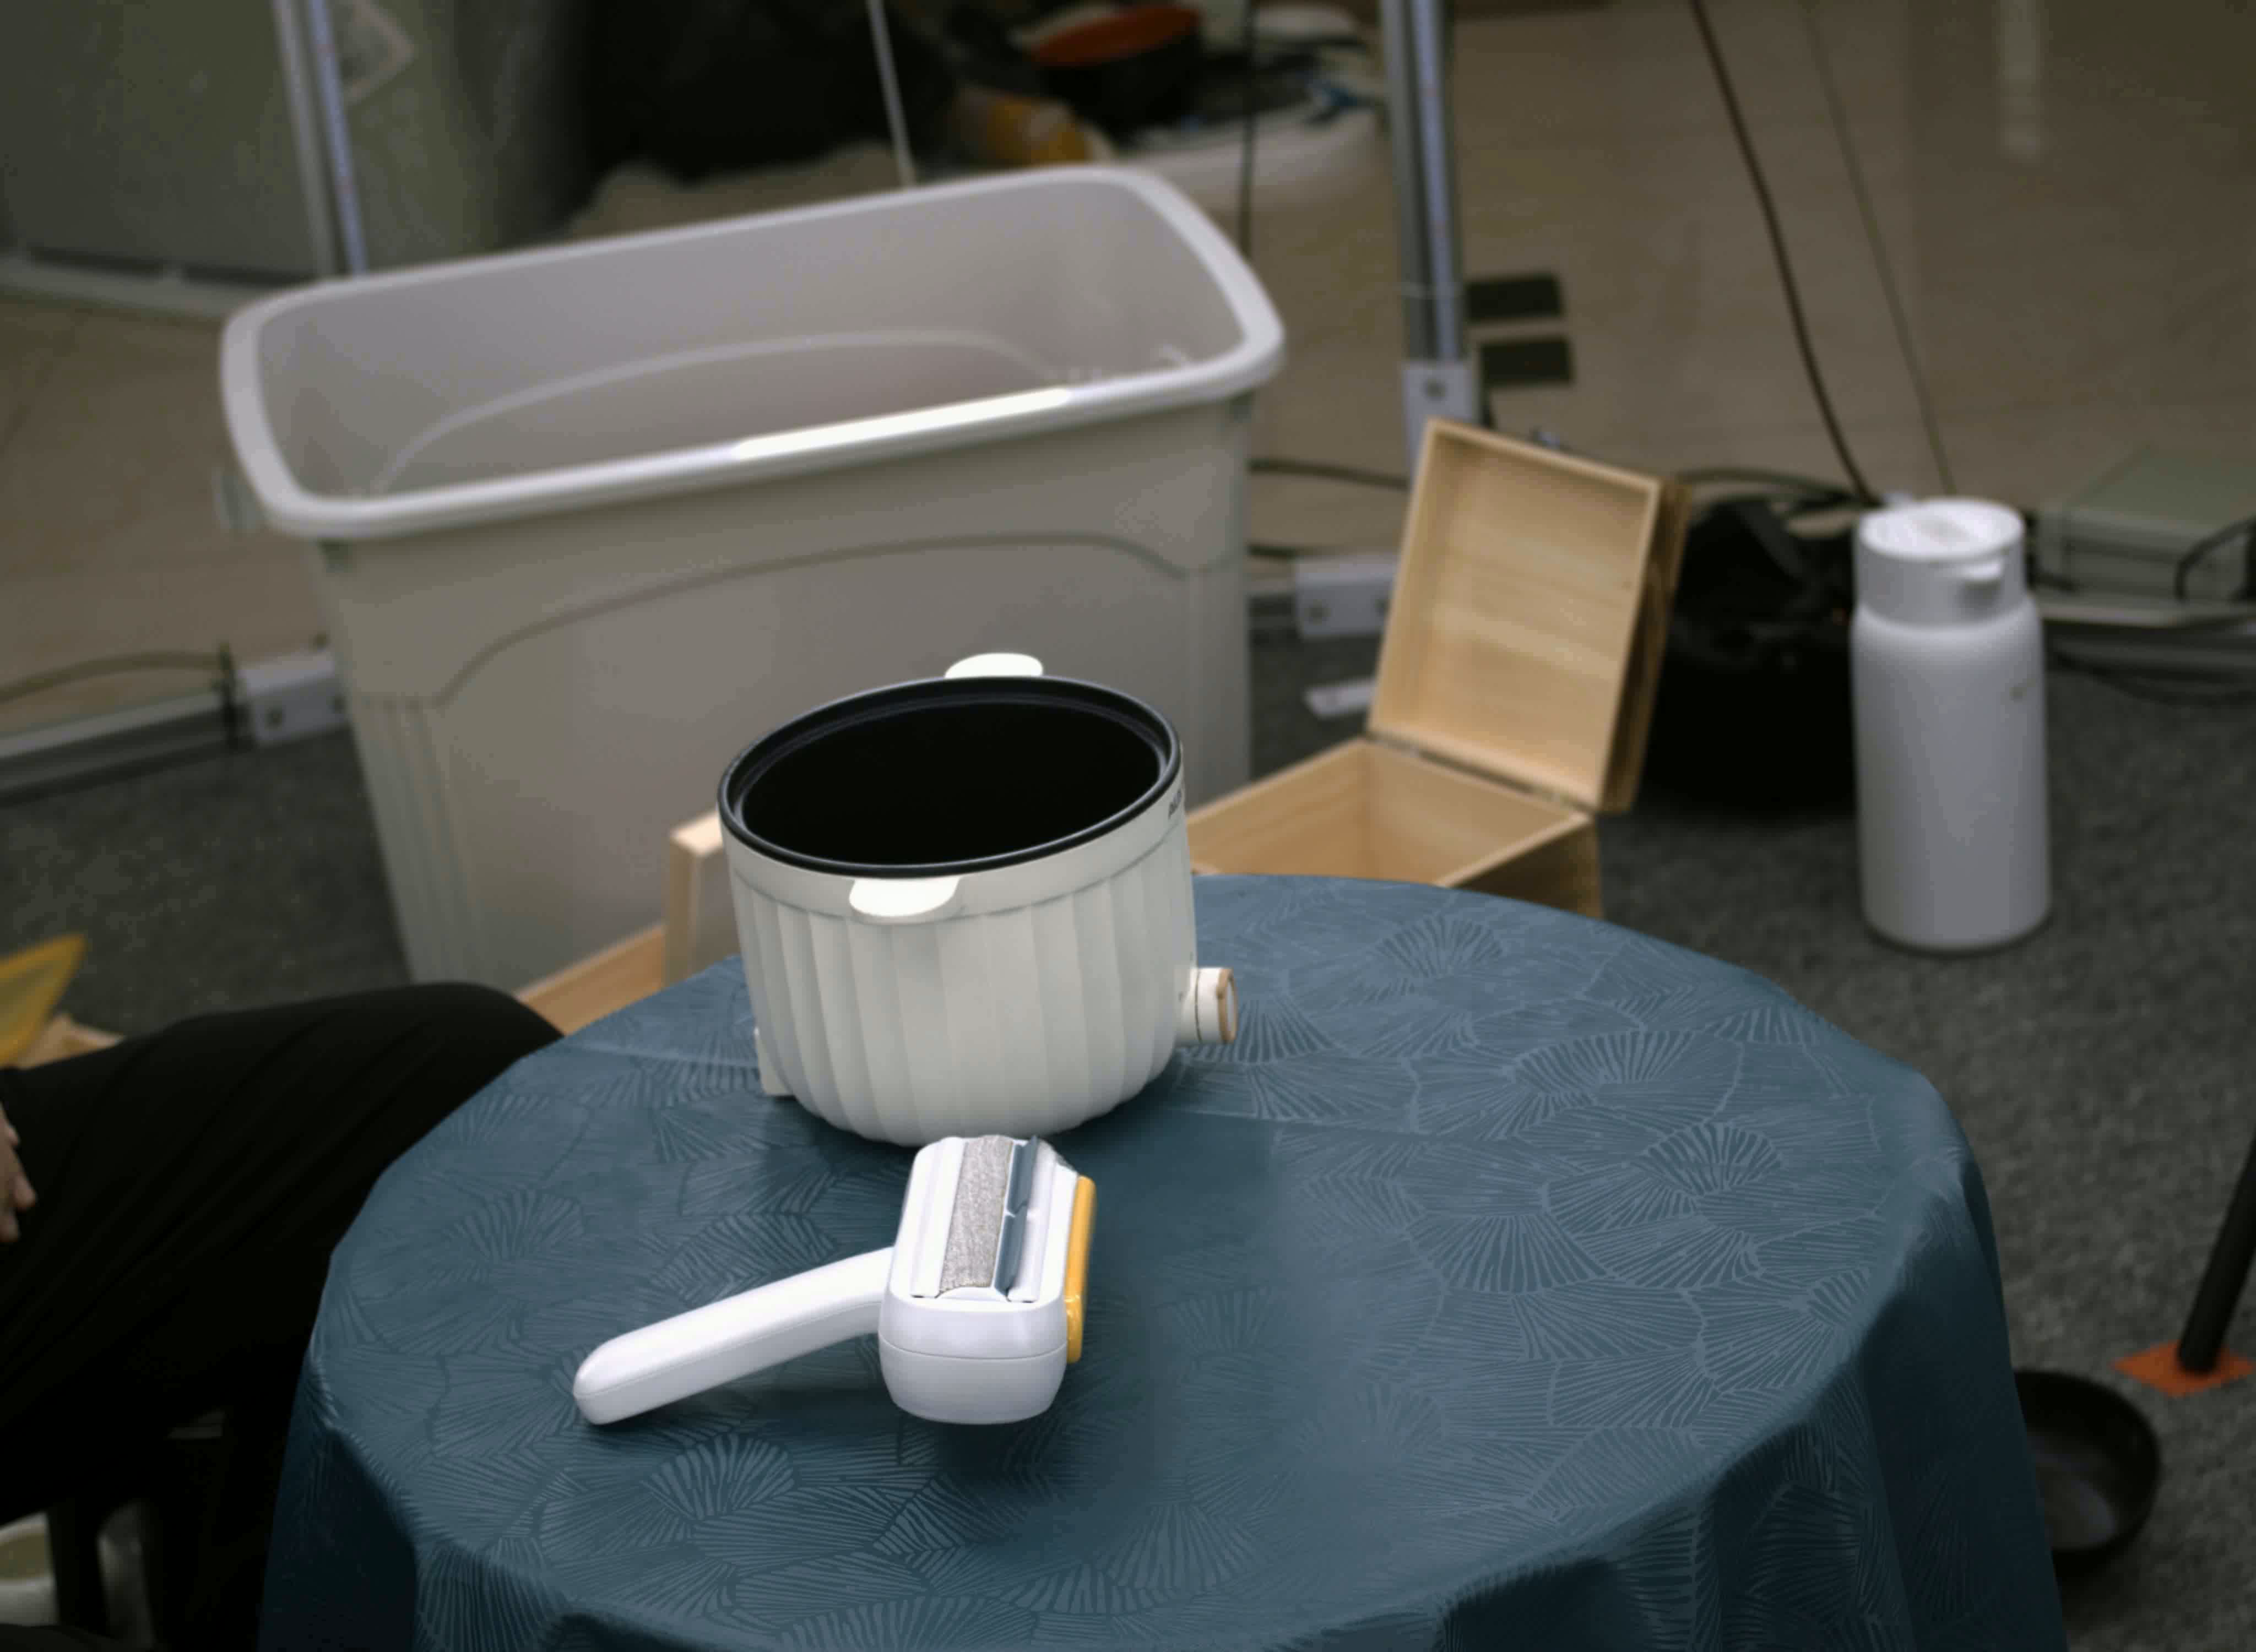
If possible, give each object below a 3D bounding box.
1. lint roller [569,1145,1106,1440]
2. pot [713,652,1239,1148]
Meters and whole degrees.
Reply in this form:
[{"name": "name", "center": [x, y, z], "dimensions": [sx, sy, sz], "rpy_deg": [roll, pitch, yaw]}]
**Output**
[{"name": "lint roller", "center": [-0.108, 0.174, 2.016], "dimensions": [0.192, 0.075, 0.190], "rpy_deg": [-6, 19, 7]}, {"name": "pot", "center": [-0.057, 0.036, 2.210], "dimensions": [0.190, 0.145, 0.237], "rpy_deg": [-4, 27, 11]}]
